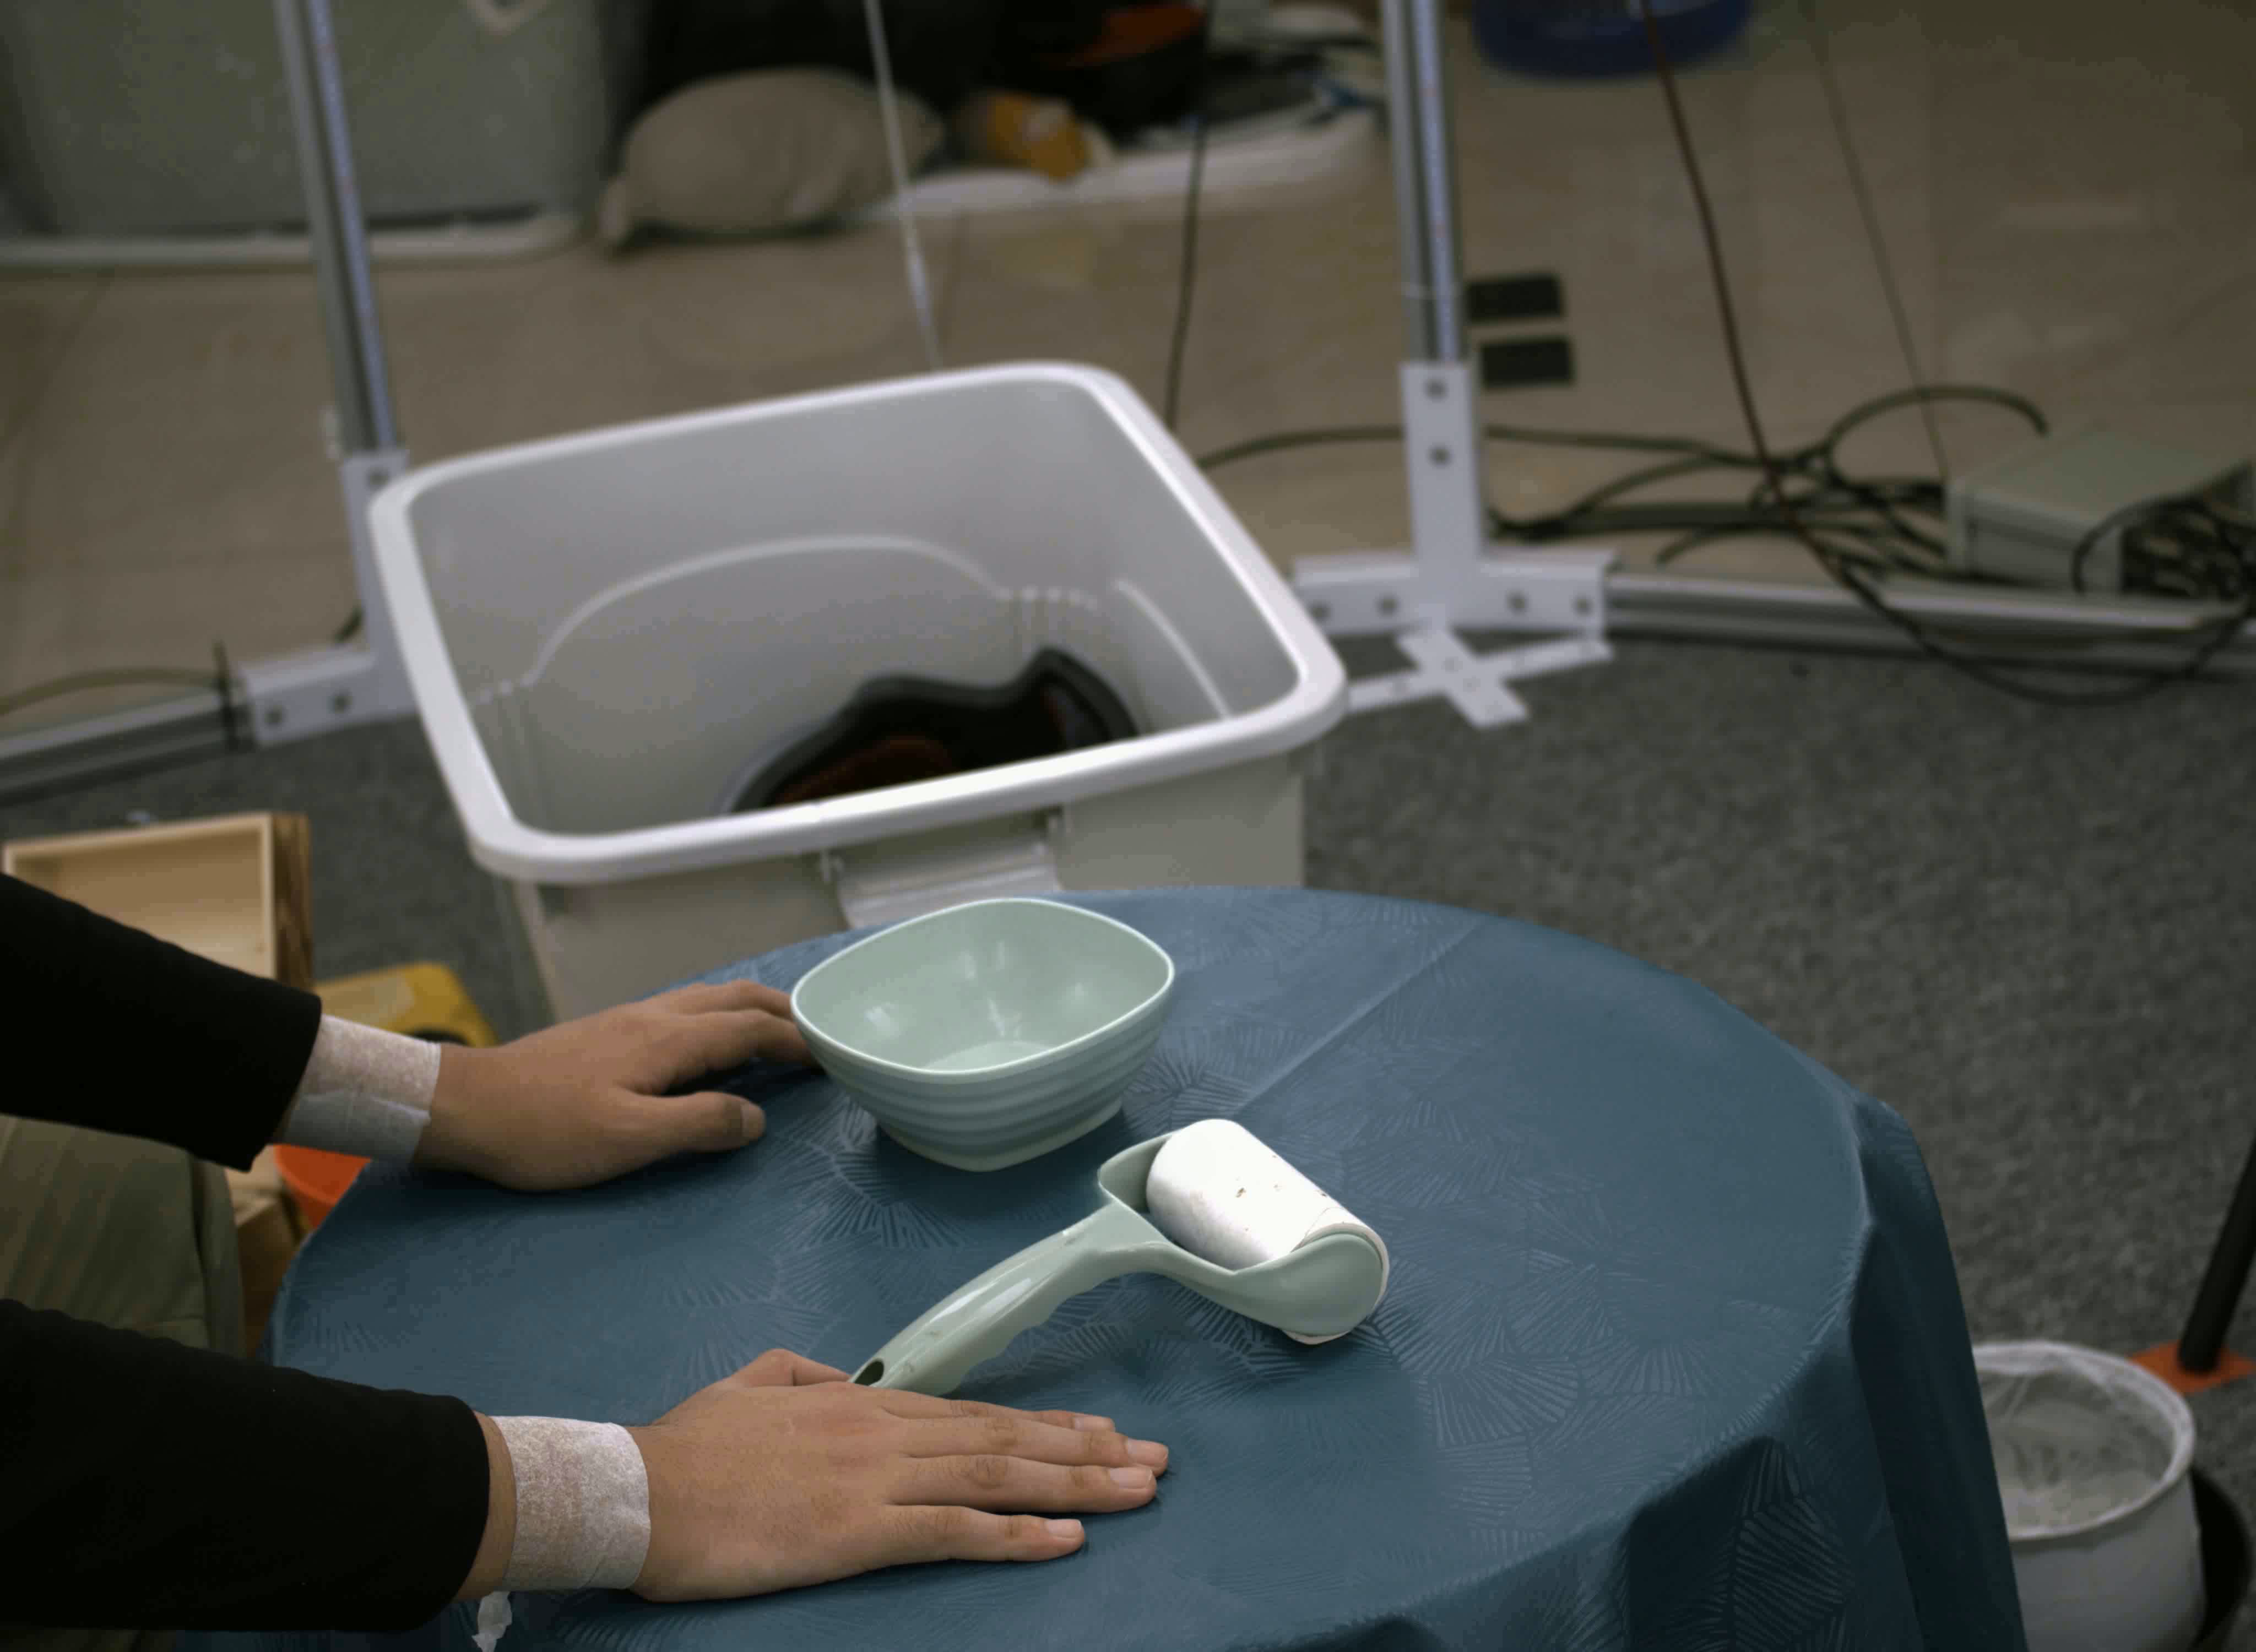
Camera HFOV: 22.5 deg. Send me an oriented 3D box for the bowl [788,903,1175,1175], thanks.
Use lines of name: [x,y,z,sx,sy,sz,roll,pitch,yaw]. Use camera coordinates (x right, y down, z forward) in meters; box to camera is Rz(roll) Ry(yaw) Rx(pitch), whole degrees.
bowl: [-0.055,0.088,2.205,0.151,0.059,0.149,-4,25,2]

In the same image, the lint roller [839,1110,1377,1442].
lint roller: [-0.019,0.165,2.042,0.196,0.049,0.115,-19,29,-22]
